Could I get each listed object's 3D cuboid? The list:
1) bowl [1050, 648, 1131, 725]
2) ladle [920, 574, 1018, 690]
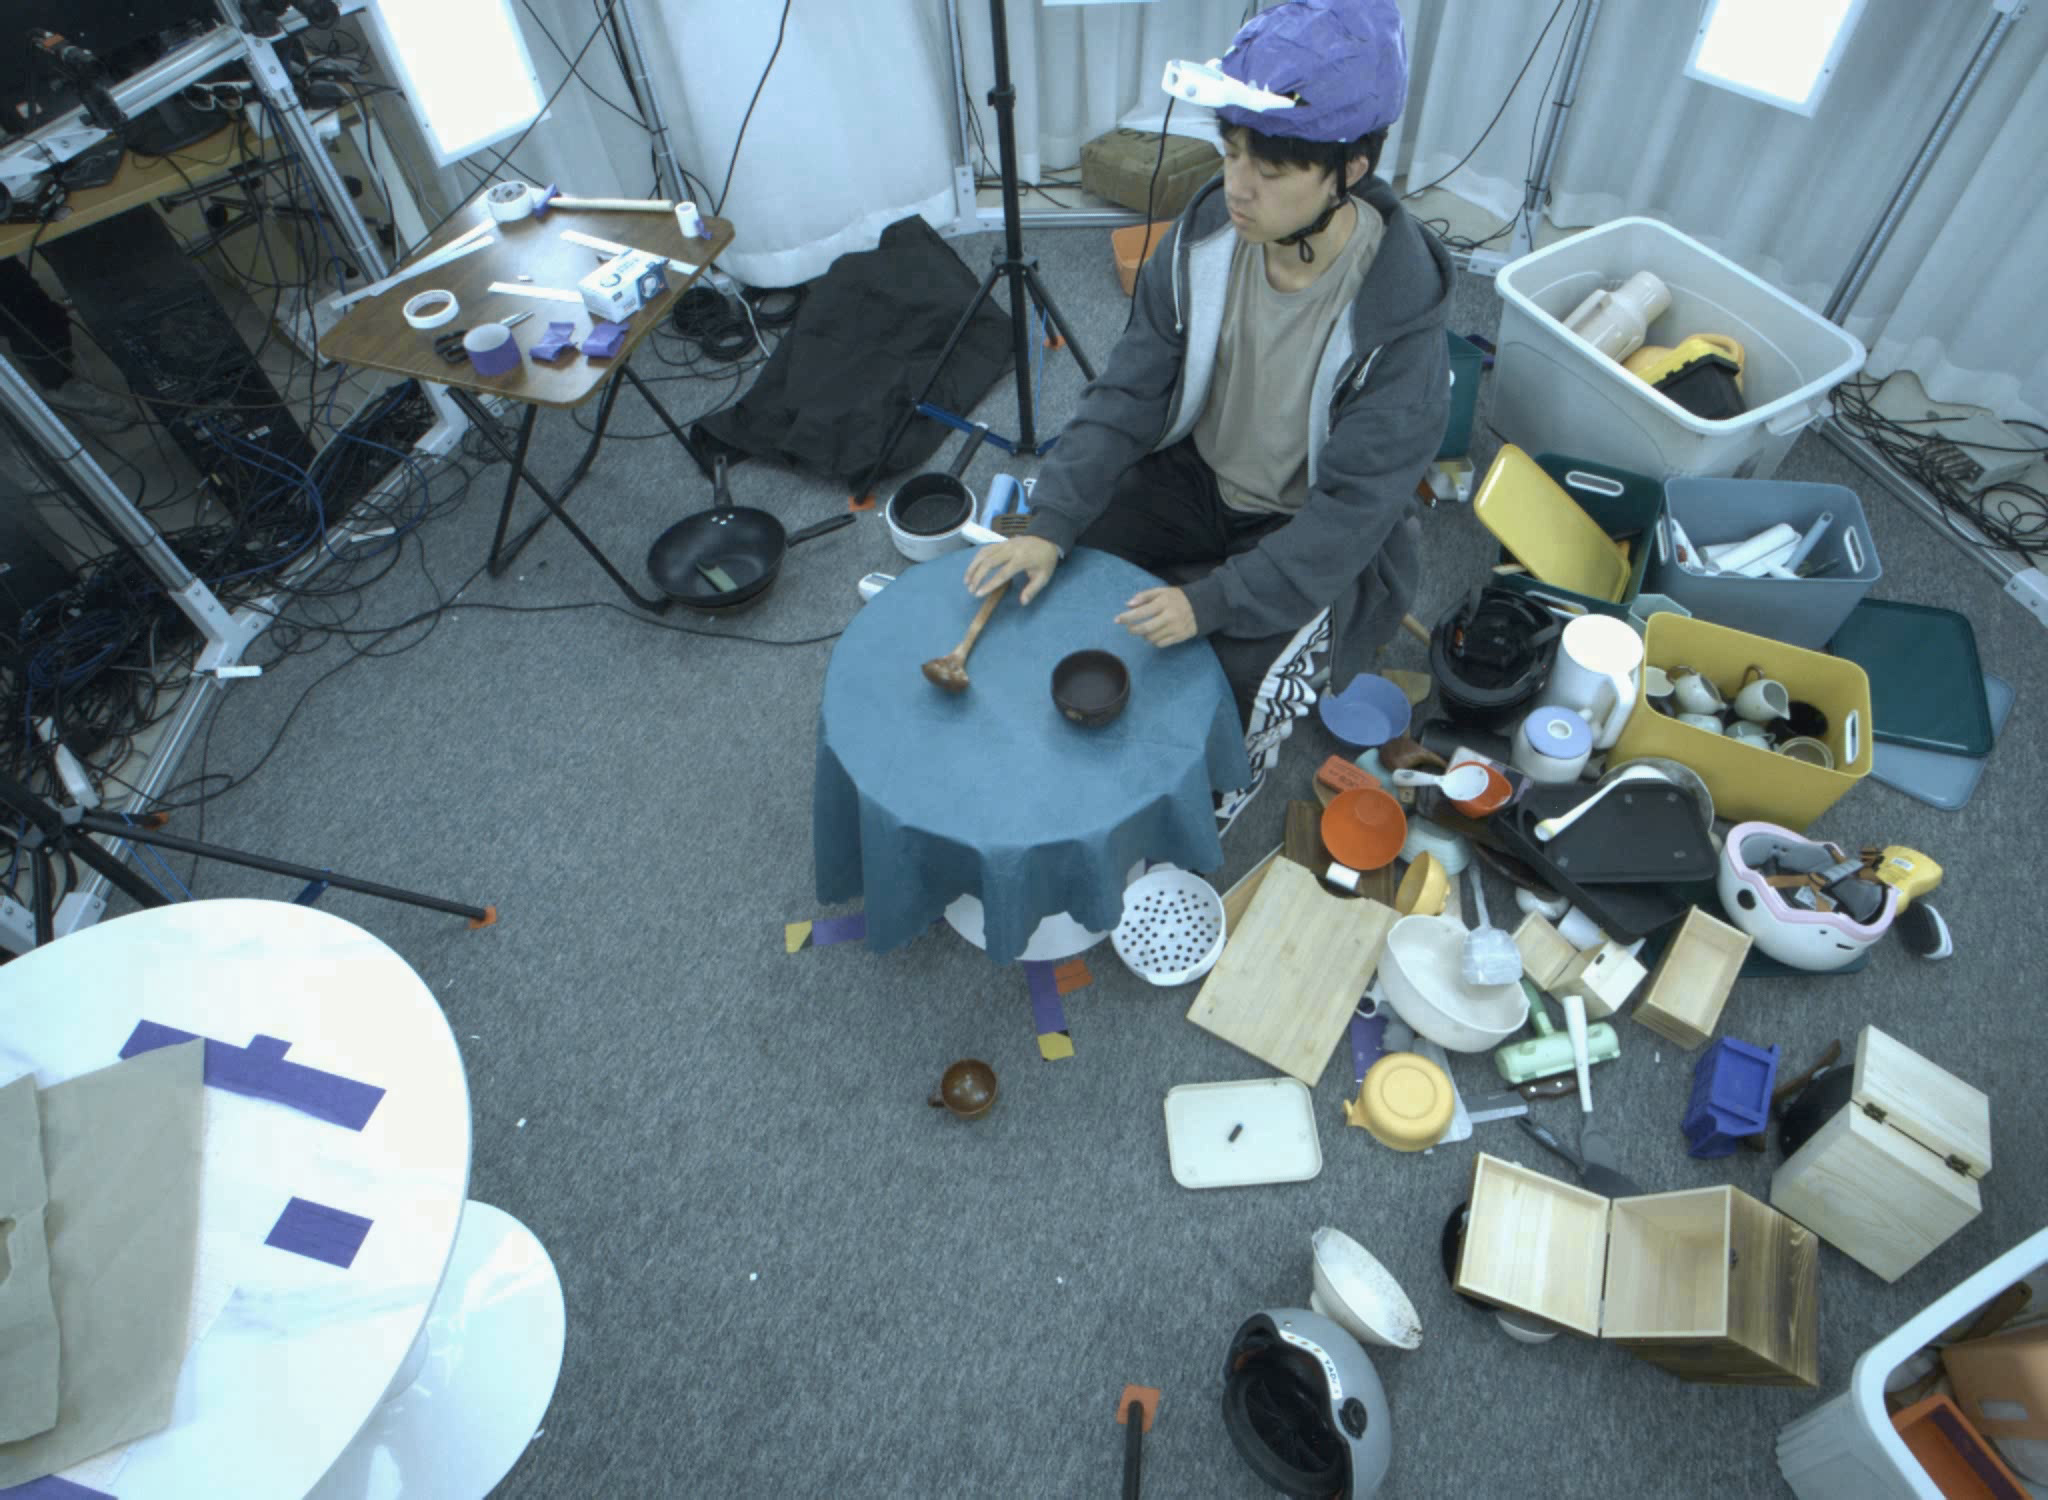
[{"bbox_3d":[0.097,-0.085,1.801,0.118,0.070,0.117,-1,54,2],"label":"bowl"},{"bbox_3d":[-0.073,-0.195,1.883,0.082,0.076,0.274,32,59,-2],"label":"ladle"}]
